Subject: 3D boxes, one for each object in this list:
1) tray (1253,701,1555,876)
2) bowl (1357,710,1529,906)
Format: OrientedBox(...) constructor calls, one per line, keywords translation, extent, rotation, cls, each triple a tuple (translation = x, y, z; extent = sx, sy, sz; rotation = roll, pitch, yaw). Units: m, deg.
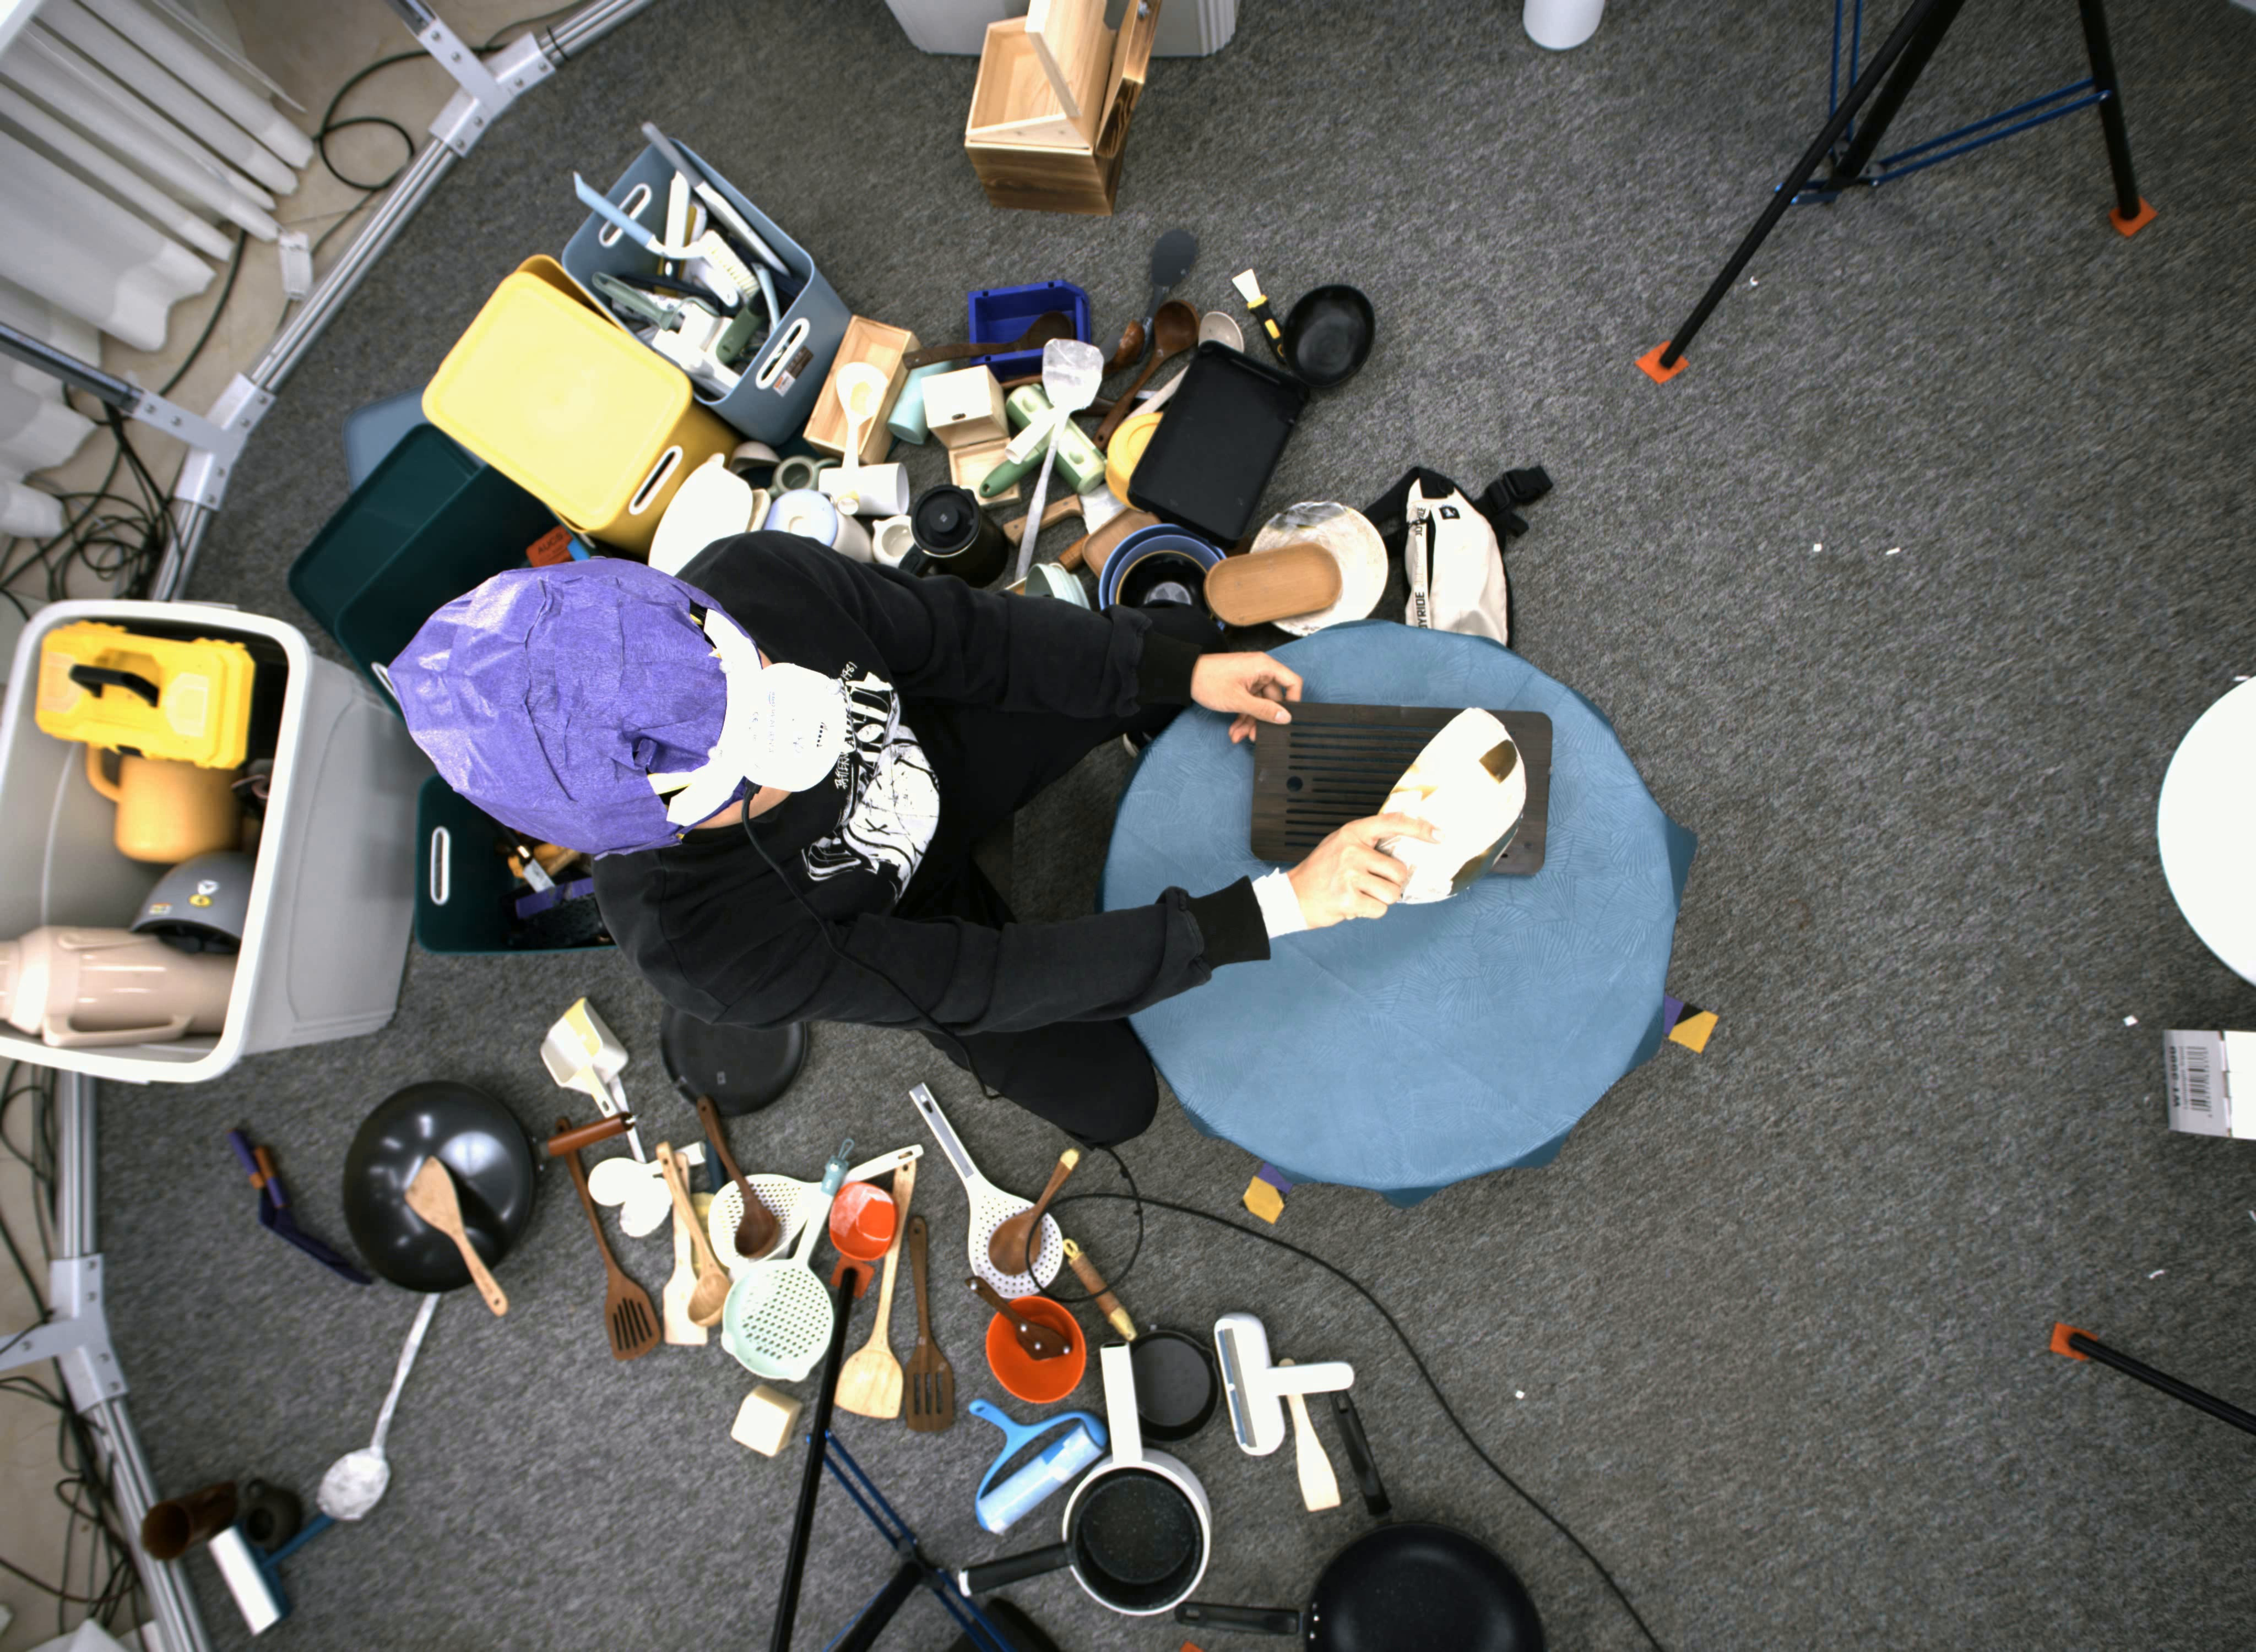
OrientedBox(translation=(0.286, -0.042, 1.443), extent=(0.307, 0.018, 0.171), rotation=(3, 96, 9), cls="tray")
OrientedBox(translation=(0.310, 0.001, 1.290), extent=(0.094, 0.216, 0.215), rotation=(38, 91, 22), cls="bowl")
